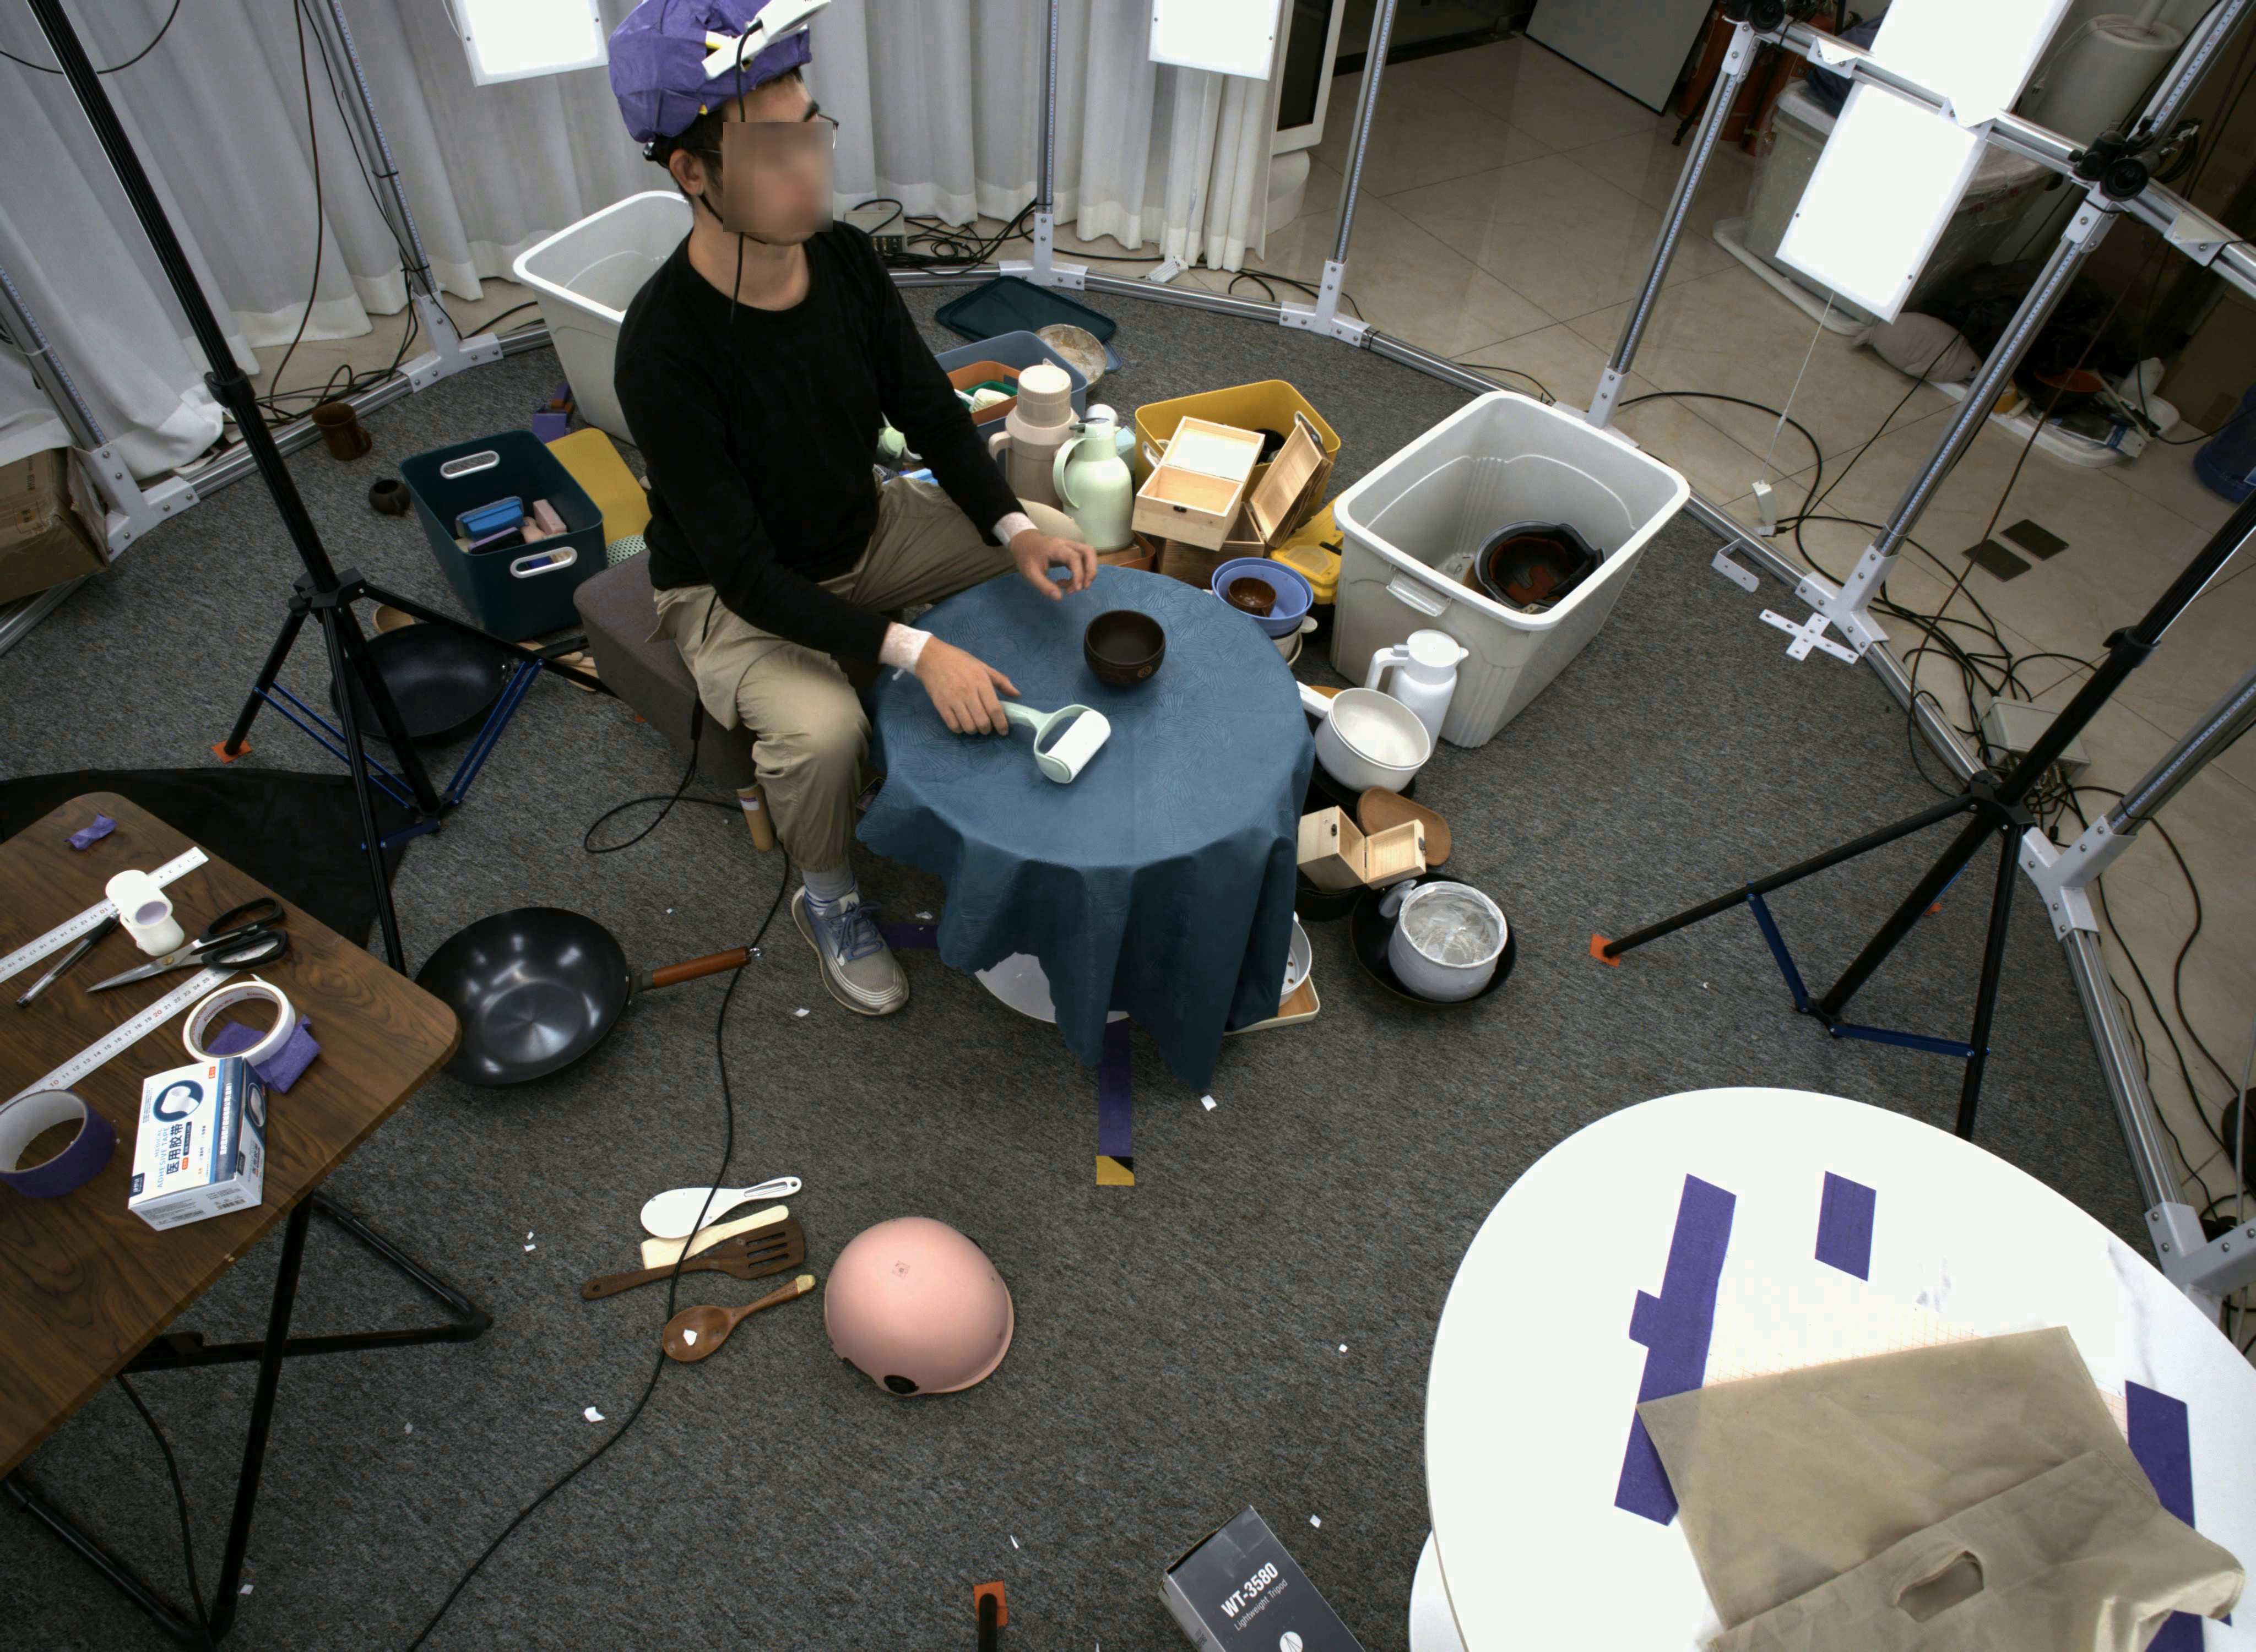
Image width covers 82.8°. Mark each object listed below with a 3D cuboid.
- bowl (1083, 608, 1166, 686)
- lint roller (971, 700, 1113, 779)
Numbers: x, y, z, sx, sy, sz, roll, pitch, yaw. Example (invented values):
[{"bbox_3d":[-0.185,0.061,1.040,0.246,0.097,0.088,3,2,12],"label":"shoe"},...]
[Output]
[{"bbox_3d":[-0.006,-0.248,1.838,0.118,0.068,0.121,1,49,-2],"label":"bowl"},{"bbox_3d":[-0.128,-0.142,1.756,0.199,0.047,0.118,24,53,18],"label":"lint roller"}]
